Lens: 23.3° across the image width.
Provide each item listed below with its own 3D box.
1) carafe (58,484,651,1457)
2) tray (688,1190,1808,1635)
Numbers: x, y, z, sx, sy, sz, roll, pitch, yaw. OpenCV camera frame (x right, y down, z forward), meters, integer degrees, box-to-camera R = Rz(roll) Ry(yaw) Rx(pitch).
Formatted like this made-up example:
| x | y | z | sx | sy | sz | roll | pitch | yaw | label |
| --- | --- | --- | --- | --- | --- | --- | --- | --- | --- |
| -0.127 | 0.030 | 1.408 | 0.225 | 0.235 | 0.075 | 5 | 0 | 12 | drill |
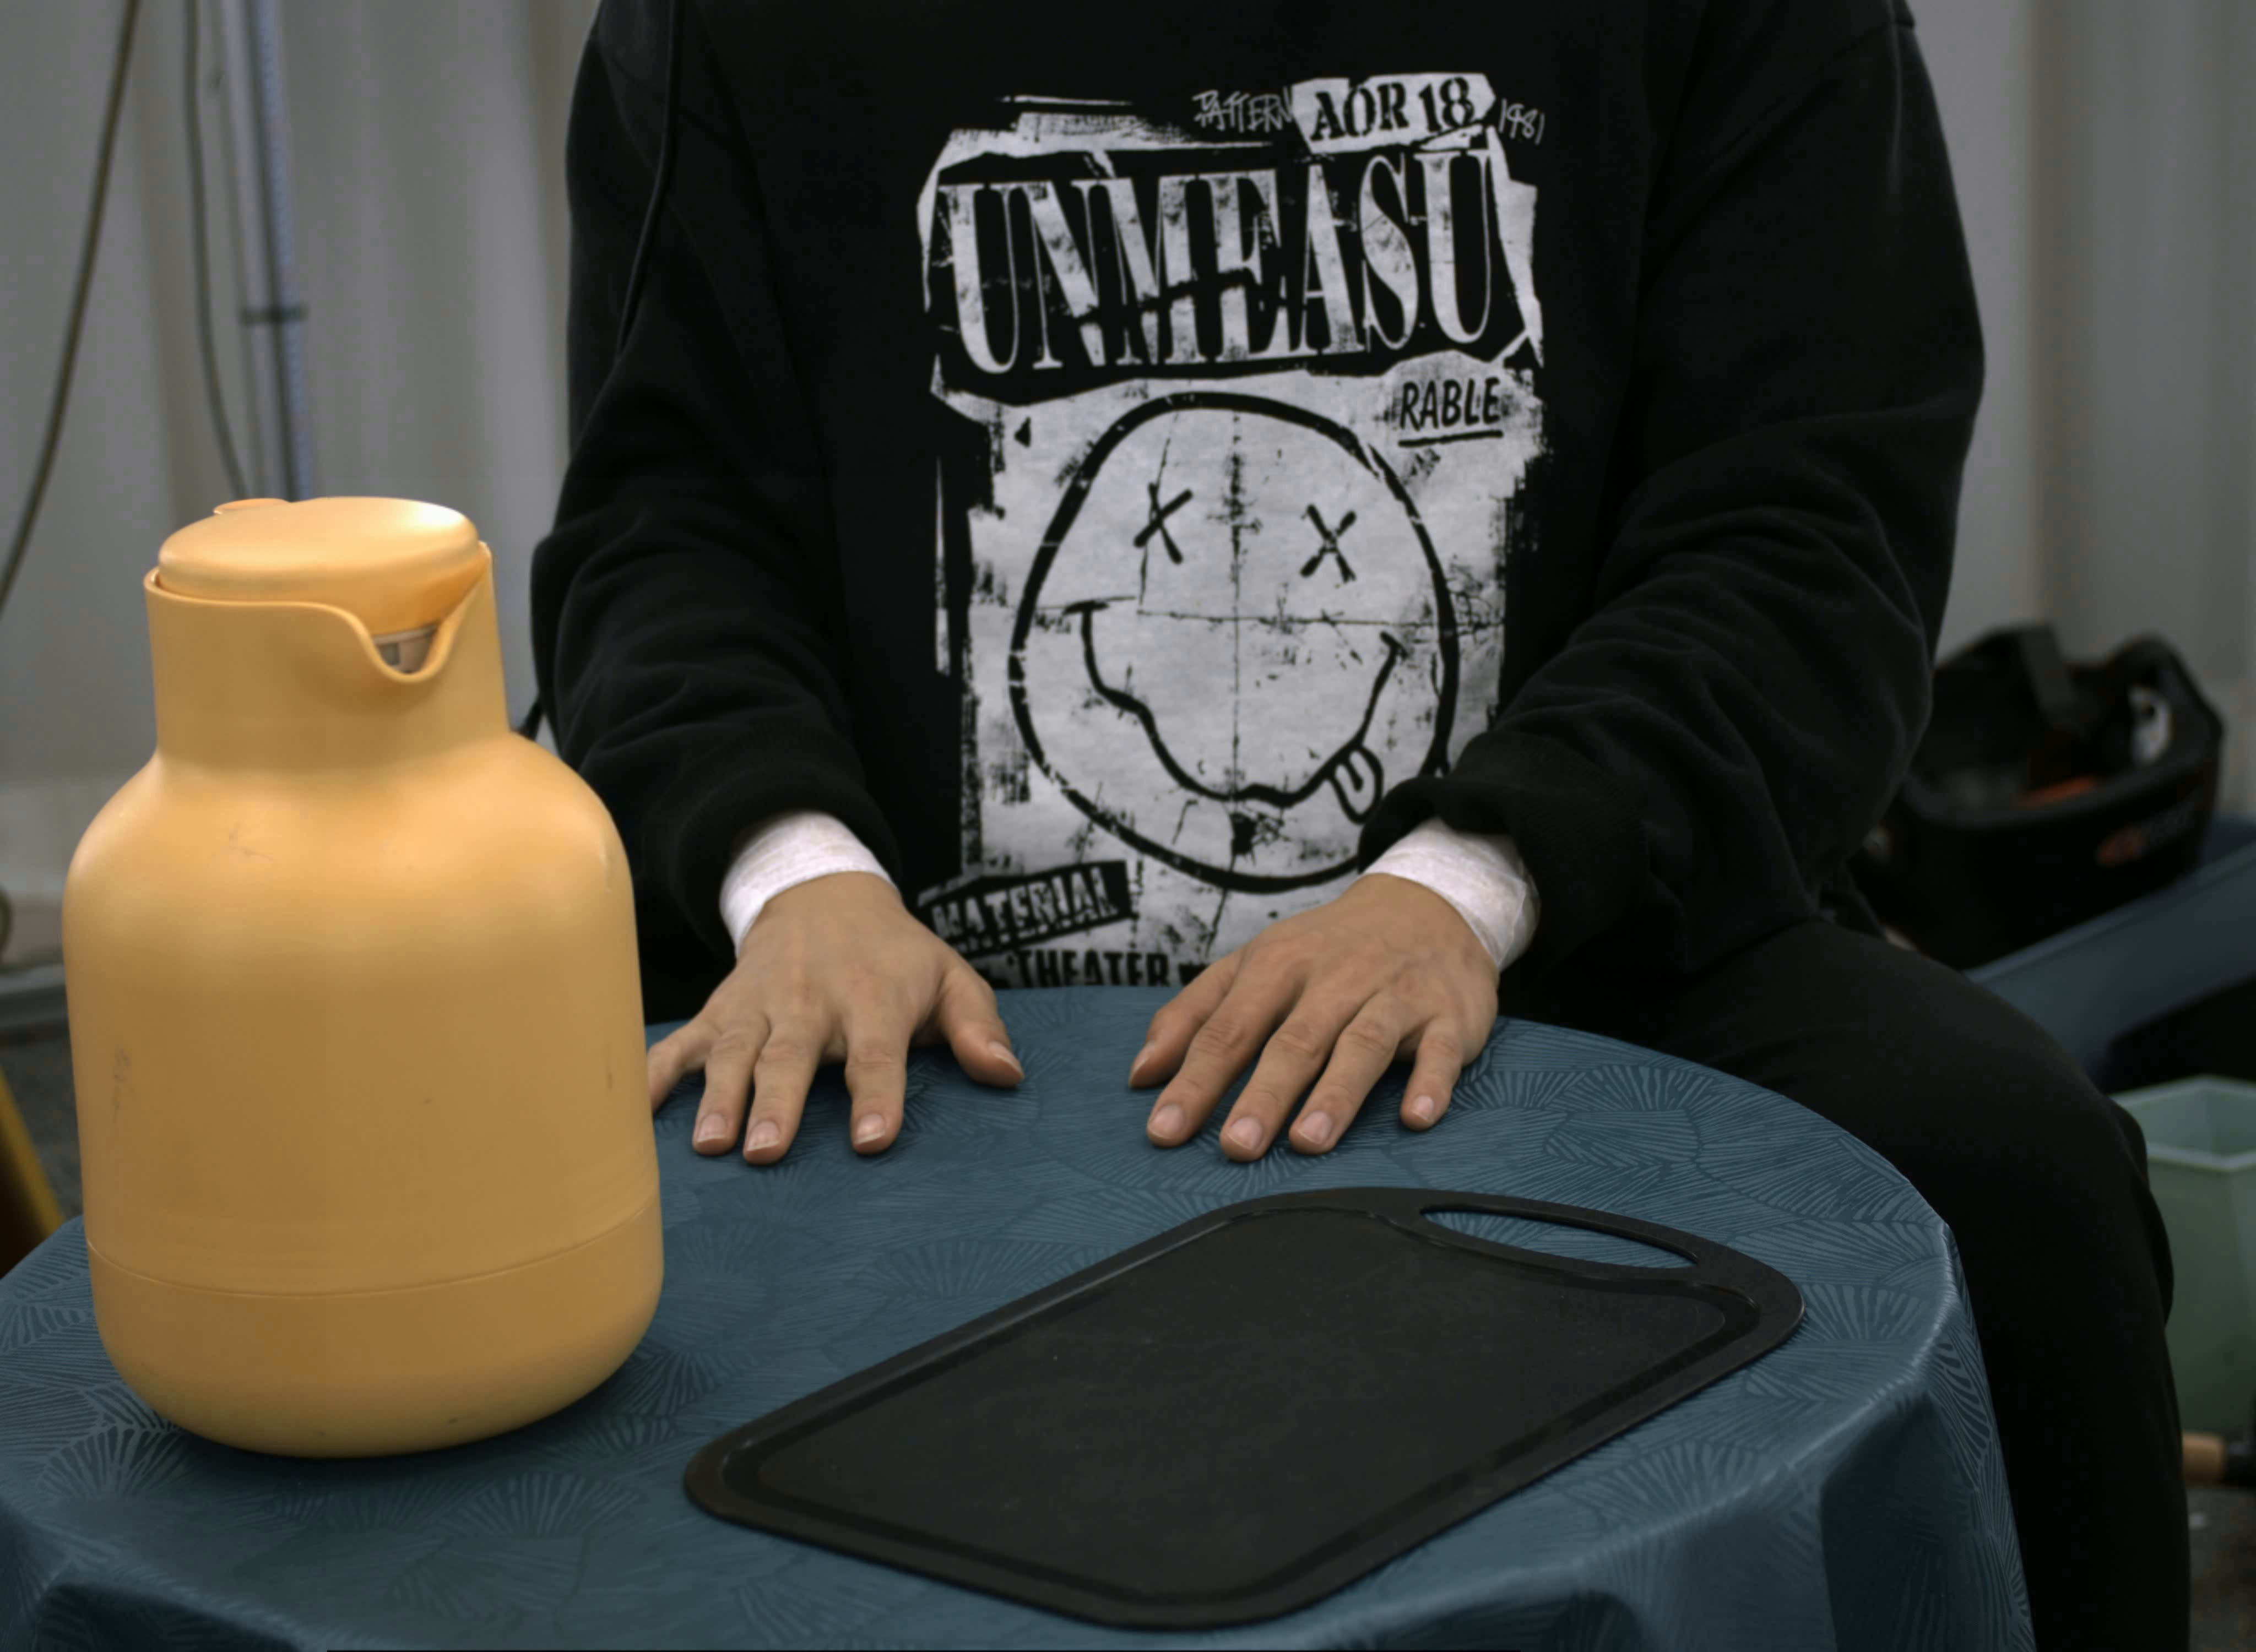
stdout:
| x | y | z | sx | sy | sz | roll | pitch | yaw | label |
| --- | --- | --- | --- | --- | --- | --- | --- | --- | --- |
| -0.226 | 0.032 | 1.563 | 0.162 | 0.259 | 0.204 | -7 | 16 | -24 | carafe |
| 0.043 | 0.155 | 1.541 | 0.212 | 0.010 | 0.325 | 10 | 19 | 39 | tray |
